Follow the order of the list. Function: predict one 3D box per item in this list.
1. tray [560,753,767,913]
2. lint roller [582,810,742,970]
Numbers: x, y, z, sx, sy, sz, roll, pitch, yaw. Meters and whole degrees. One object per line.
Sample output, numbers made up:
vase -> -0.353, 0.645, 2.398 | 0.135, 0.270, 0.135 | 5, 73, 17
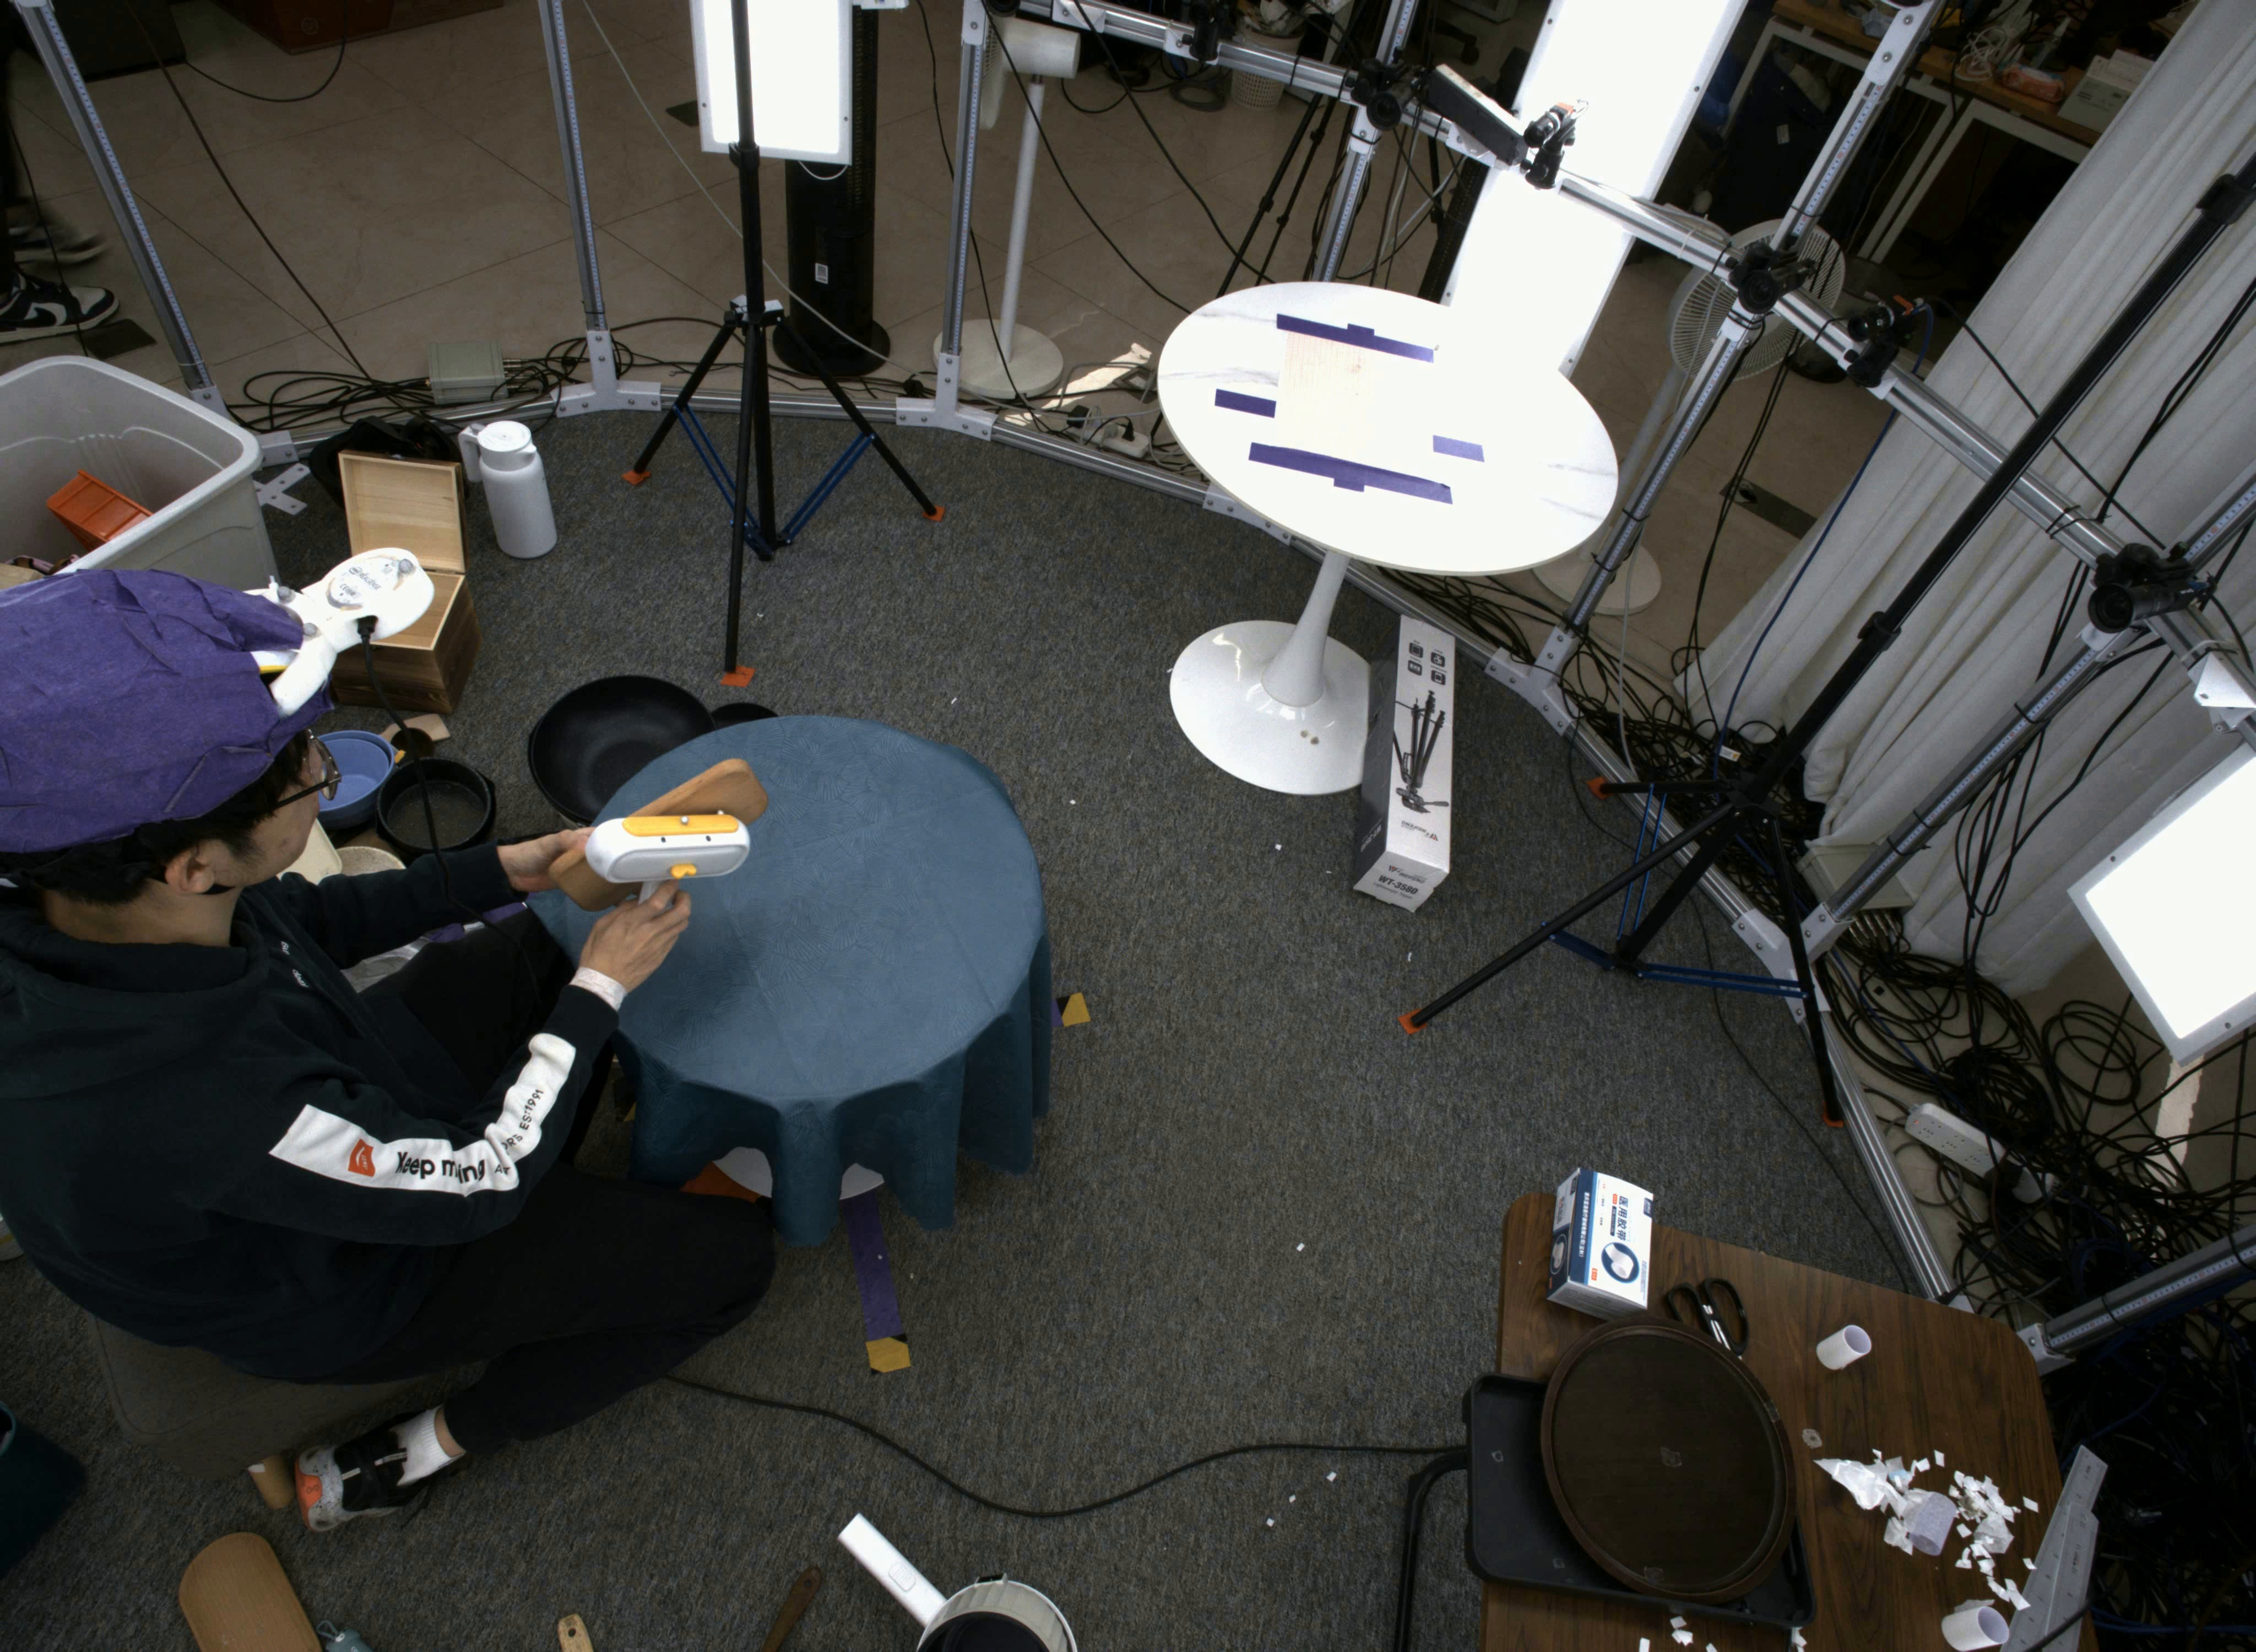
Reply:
tray -> -0.533, 0.009, 1.472 | 0.250, 0.134, 0.022 | -35, 65, -12
lint roller -> -0.535, 0.071, 1.450 | 0.072, 0.195, 0.195 | 41, 29, 22
